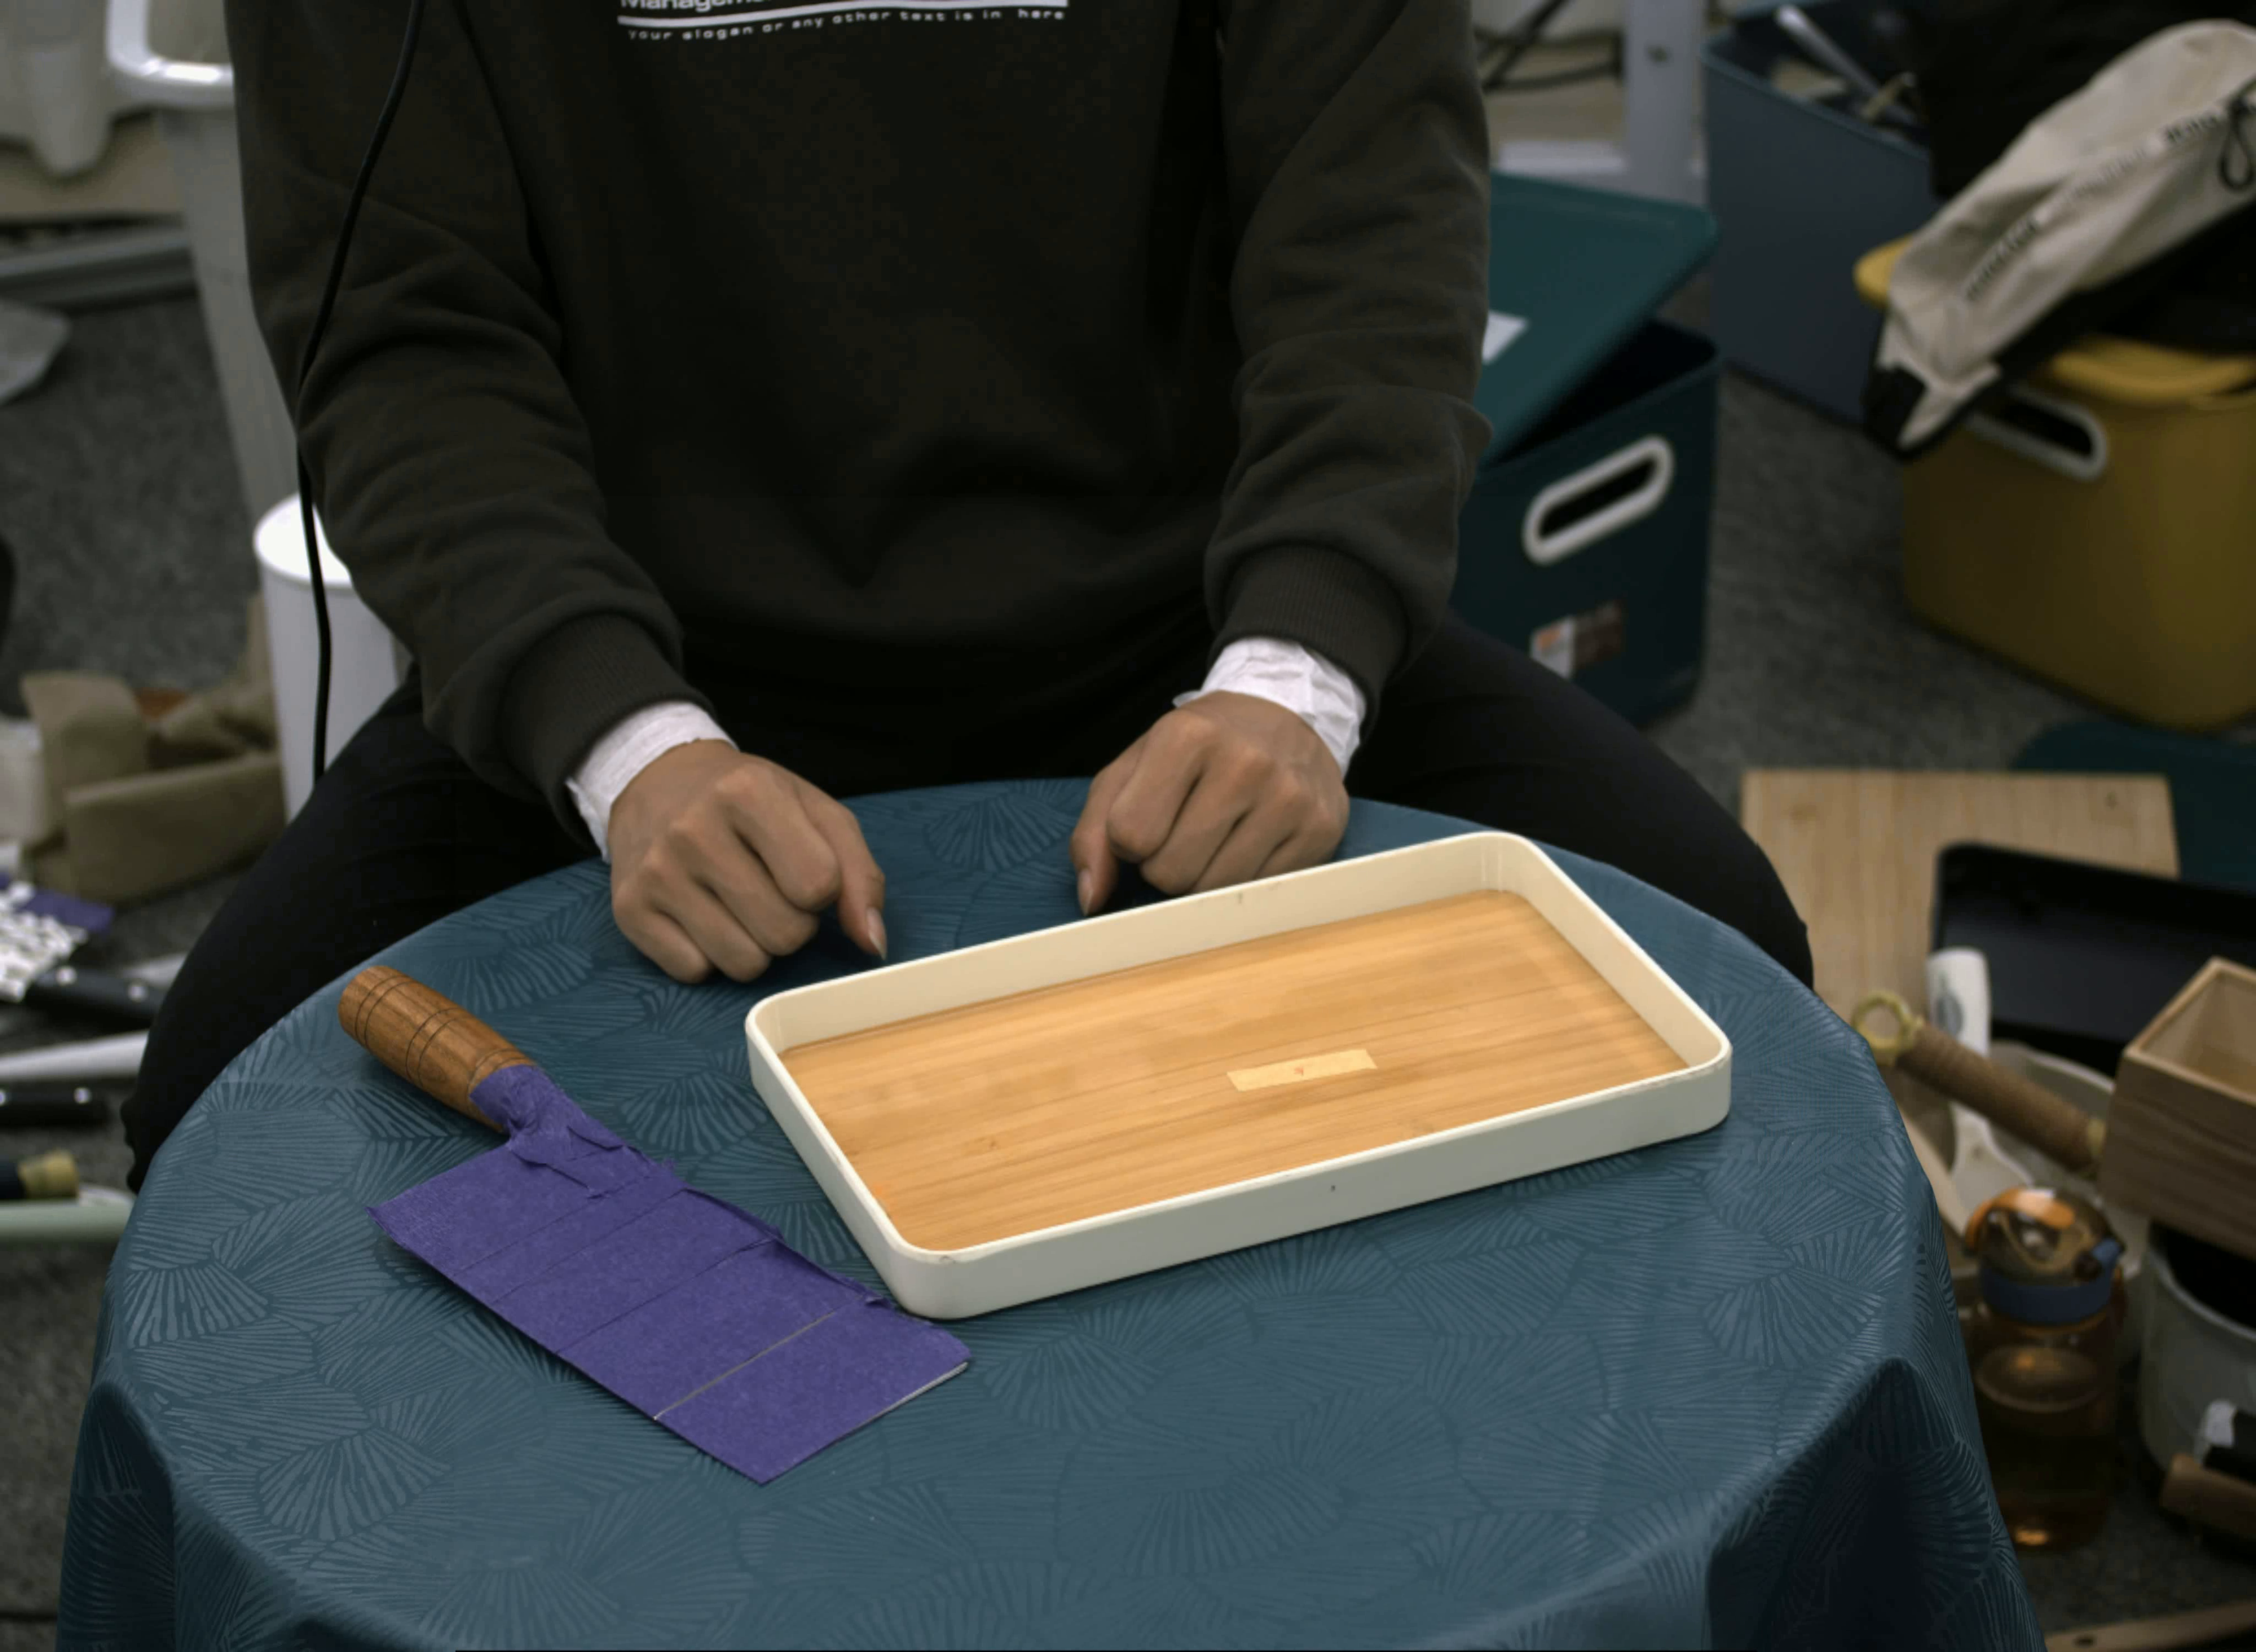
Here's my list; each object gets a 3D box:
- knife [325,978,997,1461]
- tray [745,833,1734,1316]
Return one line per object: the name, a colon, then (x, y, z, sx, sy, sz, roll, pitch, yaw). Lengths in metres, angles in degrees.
knife: (-0.183, 0.126, 1.840, 0.105, 0.032, 0.315, -24, 35, -37)
tray: (0.036, 0.080, 1.909, 0.301, 0.027, 0.193, -12, 28, -18)
